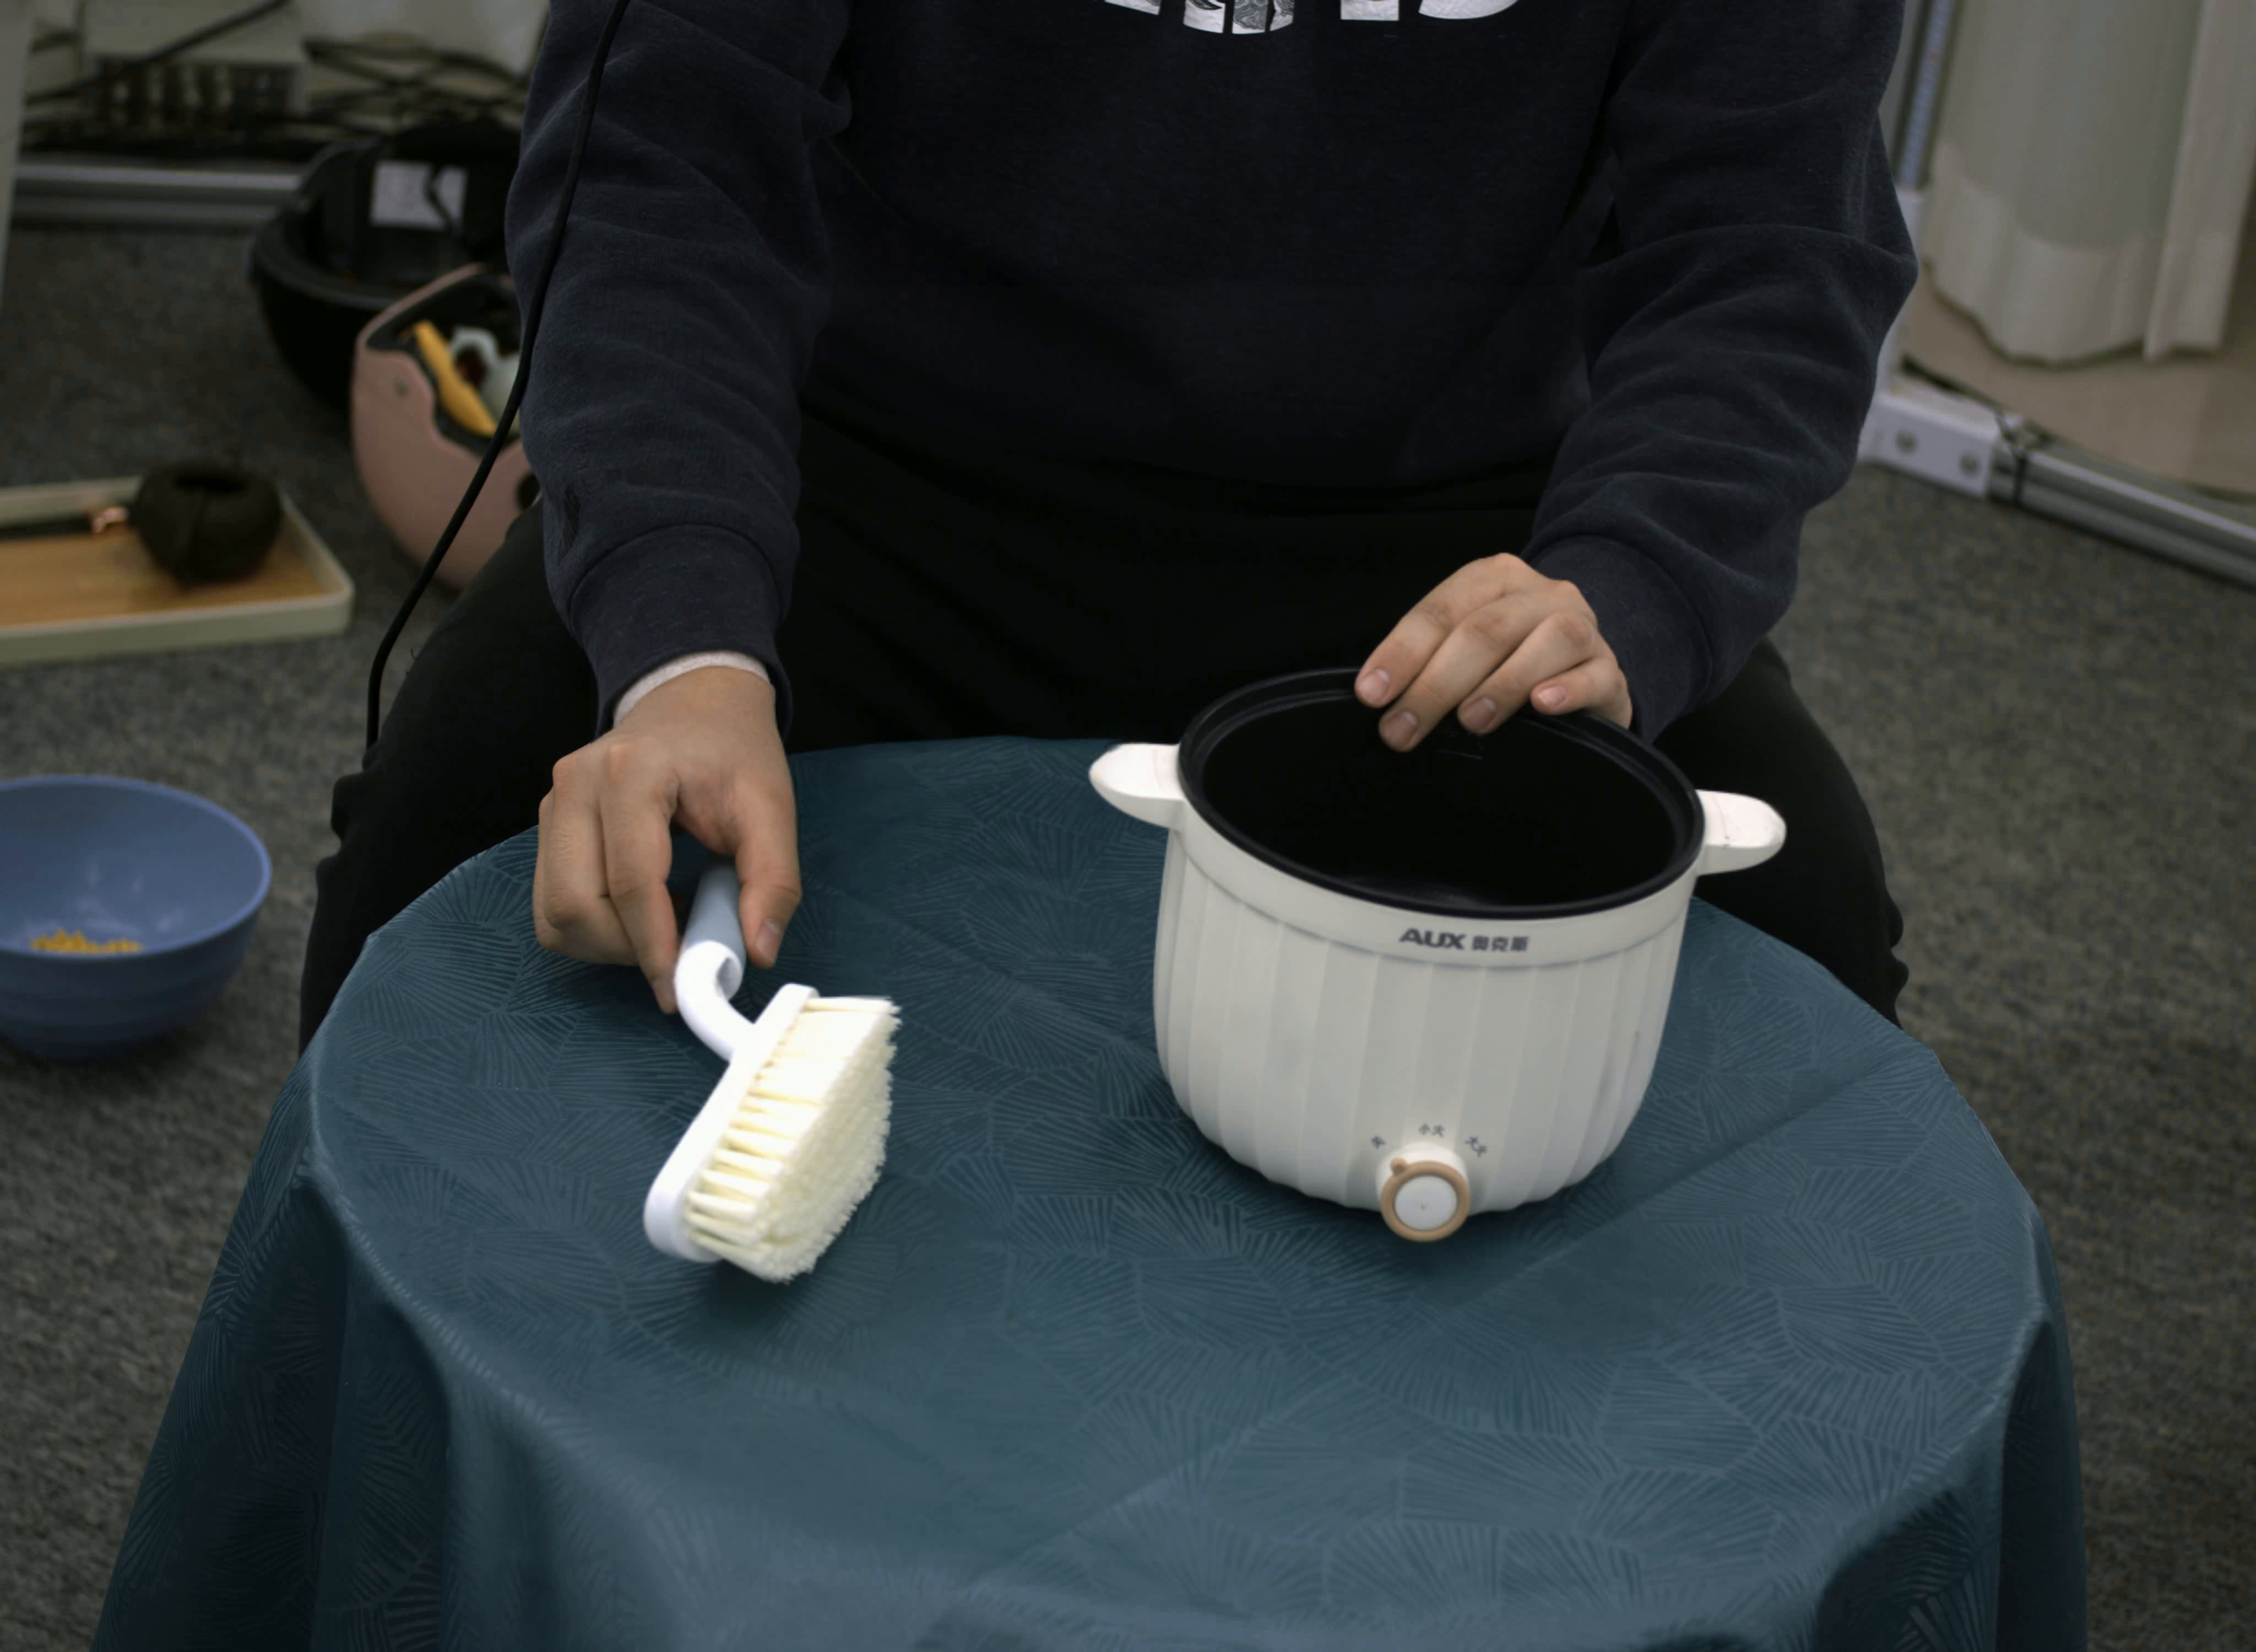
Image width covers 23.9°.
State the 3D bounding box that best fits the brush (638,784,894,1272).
[{"bbox_3d":[-0.108,0.058,1.829,0.084,0.083,0.327,41,20,-14],"label":"brush"}]

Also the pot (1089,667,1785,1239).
[{"bbox_3d":[0.100,0.047,1.829,0.239,0.142,0.191,4,24,-5],"label":"pot"}]
